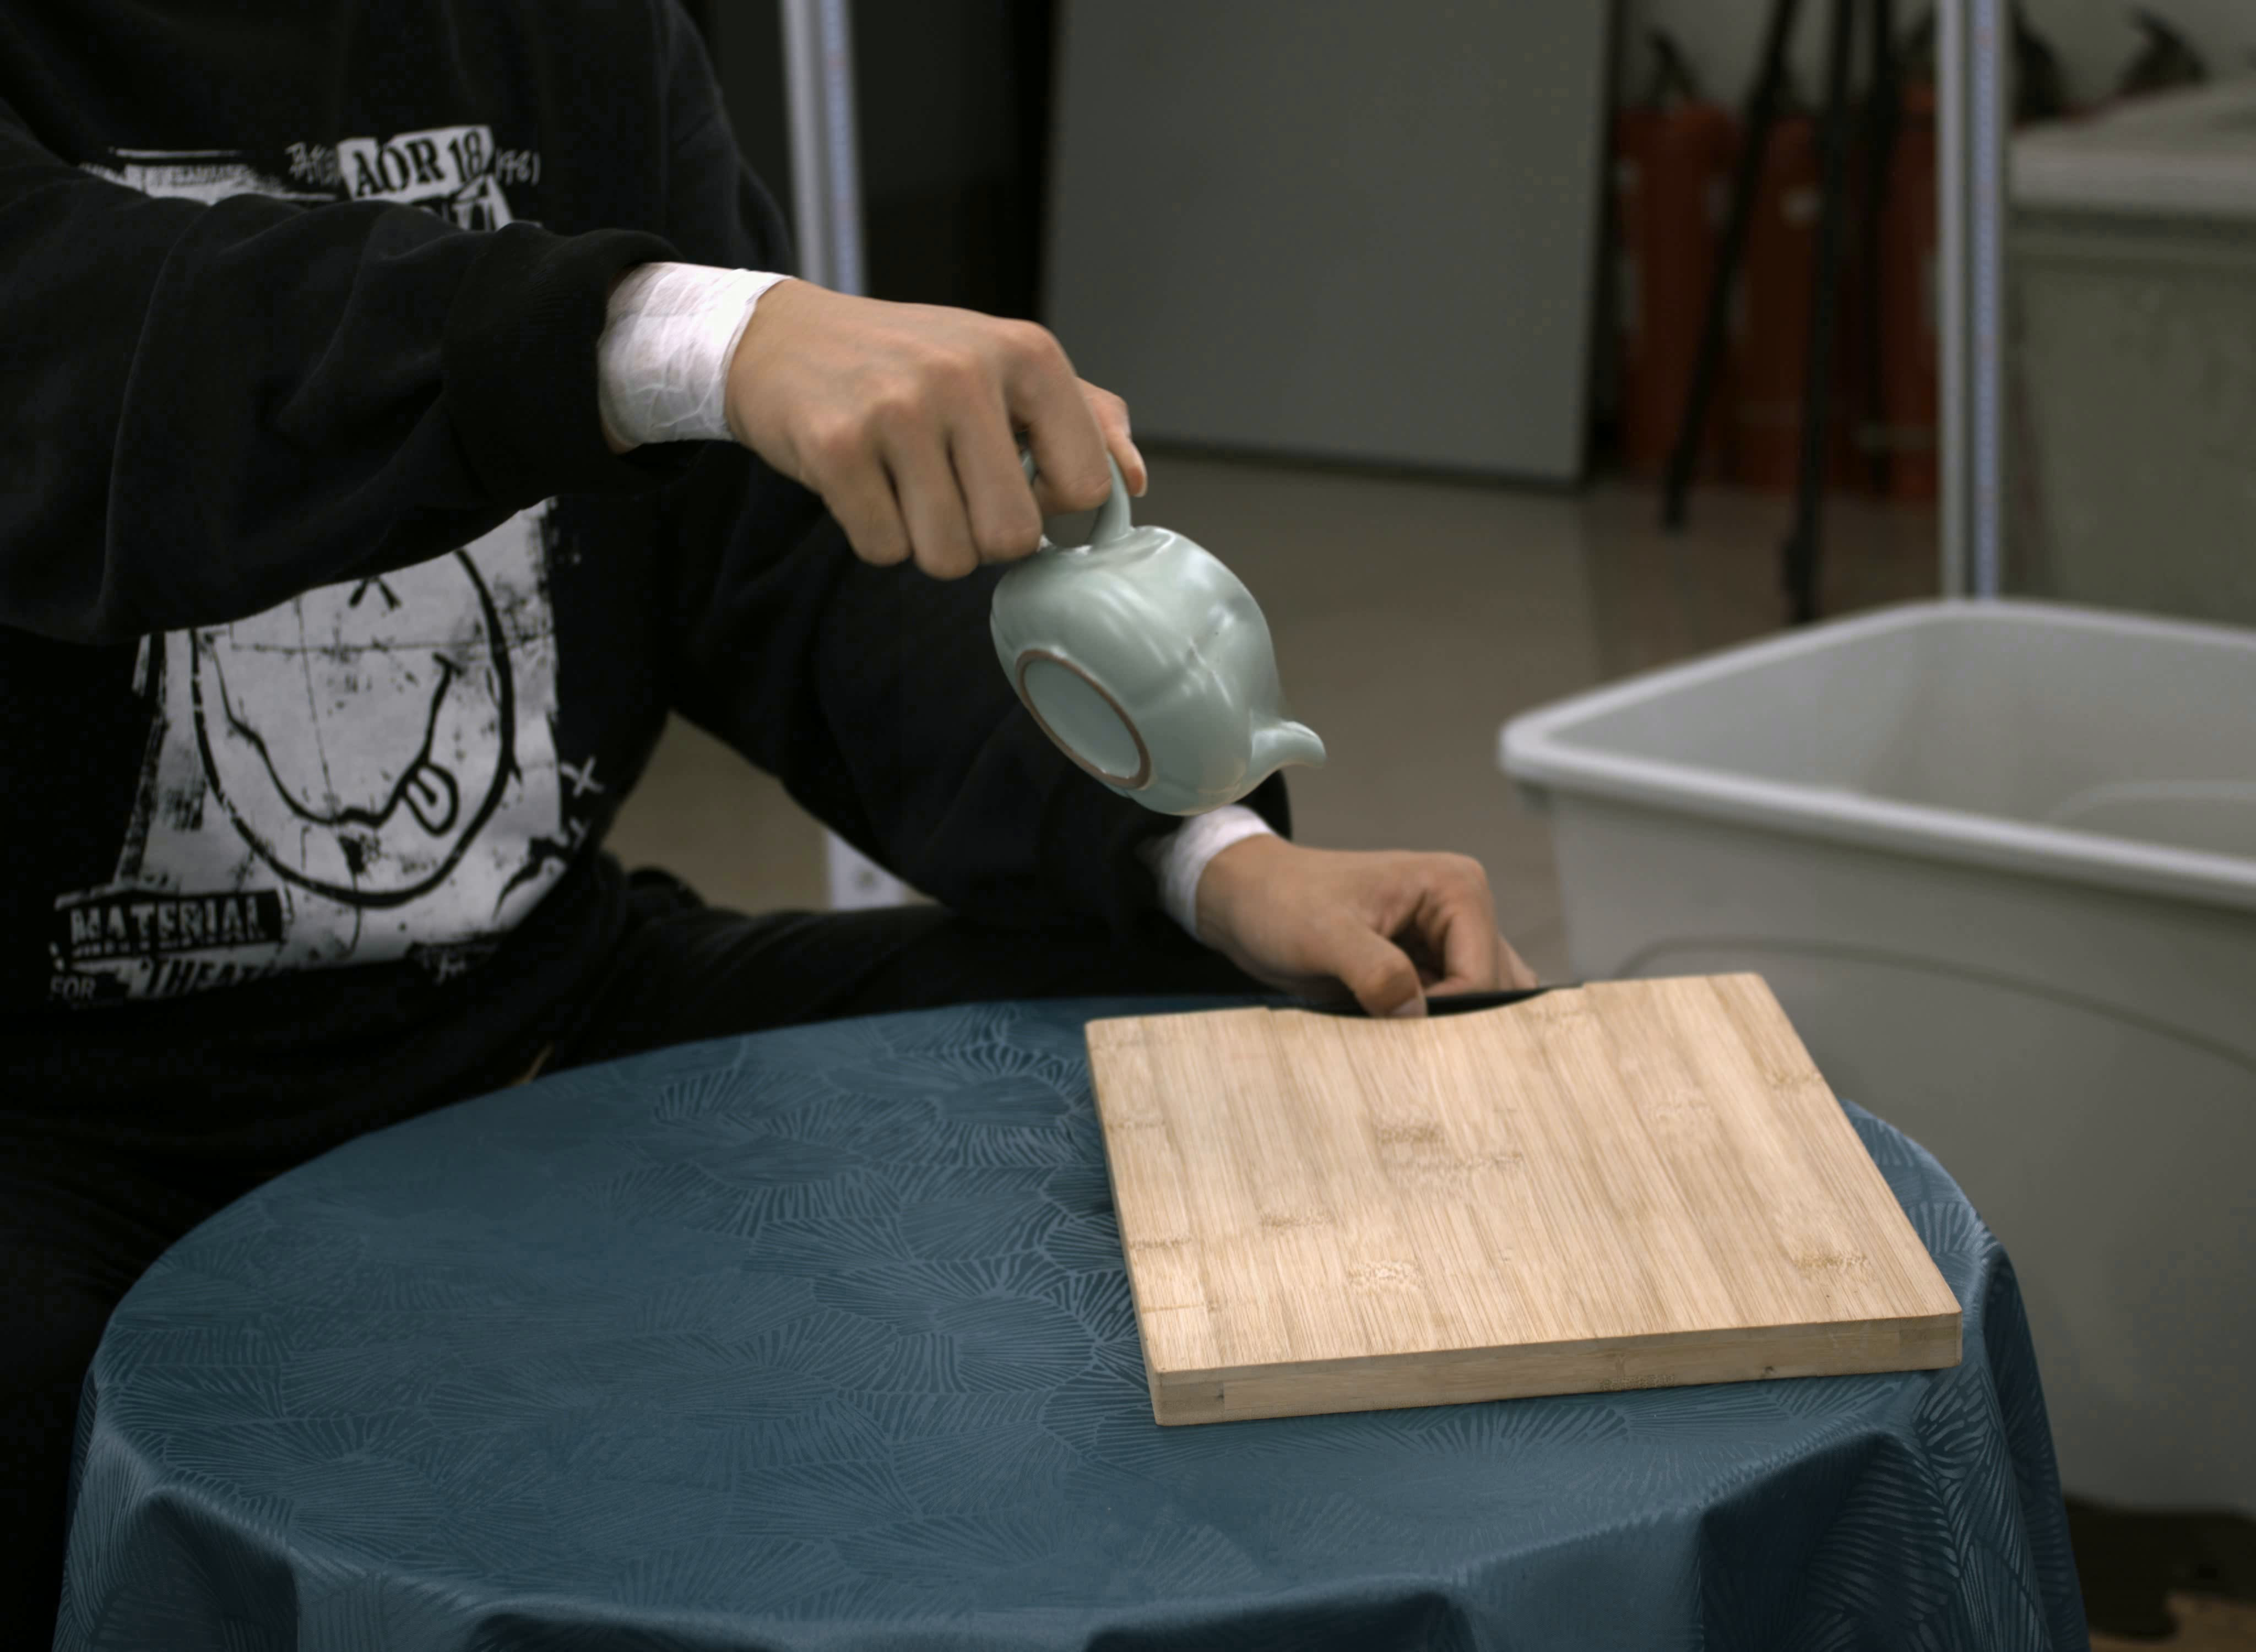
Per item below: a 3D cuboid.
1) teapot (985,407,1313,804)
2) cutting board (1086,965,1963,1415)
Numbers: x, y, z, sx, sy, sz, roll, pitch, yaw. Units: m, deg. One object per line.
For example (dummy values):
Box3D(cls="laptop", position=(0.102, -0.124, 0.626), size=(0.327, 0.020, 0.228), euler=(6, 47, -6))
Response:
Box3D(cls="teapot", position=(0.001, -0.059, 1.615), size=(0.061, 0.137, 0.097), euler=(-41, 17, -23))
Box3D(cls="cutting board", position=(0.115, 0.112, 1.726), size=(0.247, 0.024, 0.350), euler=(-5, 15, -3))
